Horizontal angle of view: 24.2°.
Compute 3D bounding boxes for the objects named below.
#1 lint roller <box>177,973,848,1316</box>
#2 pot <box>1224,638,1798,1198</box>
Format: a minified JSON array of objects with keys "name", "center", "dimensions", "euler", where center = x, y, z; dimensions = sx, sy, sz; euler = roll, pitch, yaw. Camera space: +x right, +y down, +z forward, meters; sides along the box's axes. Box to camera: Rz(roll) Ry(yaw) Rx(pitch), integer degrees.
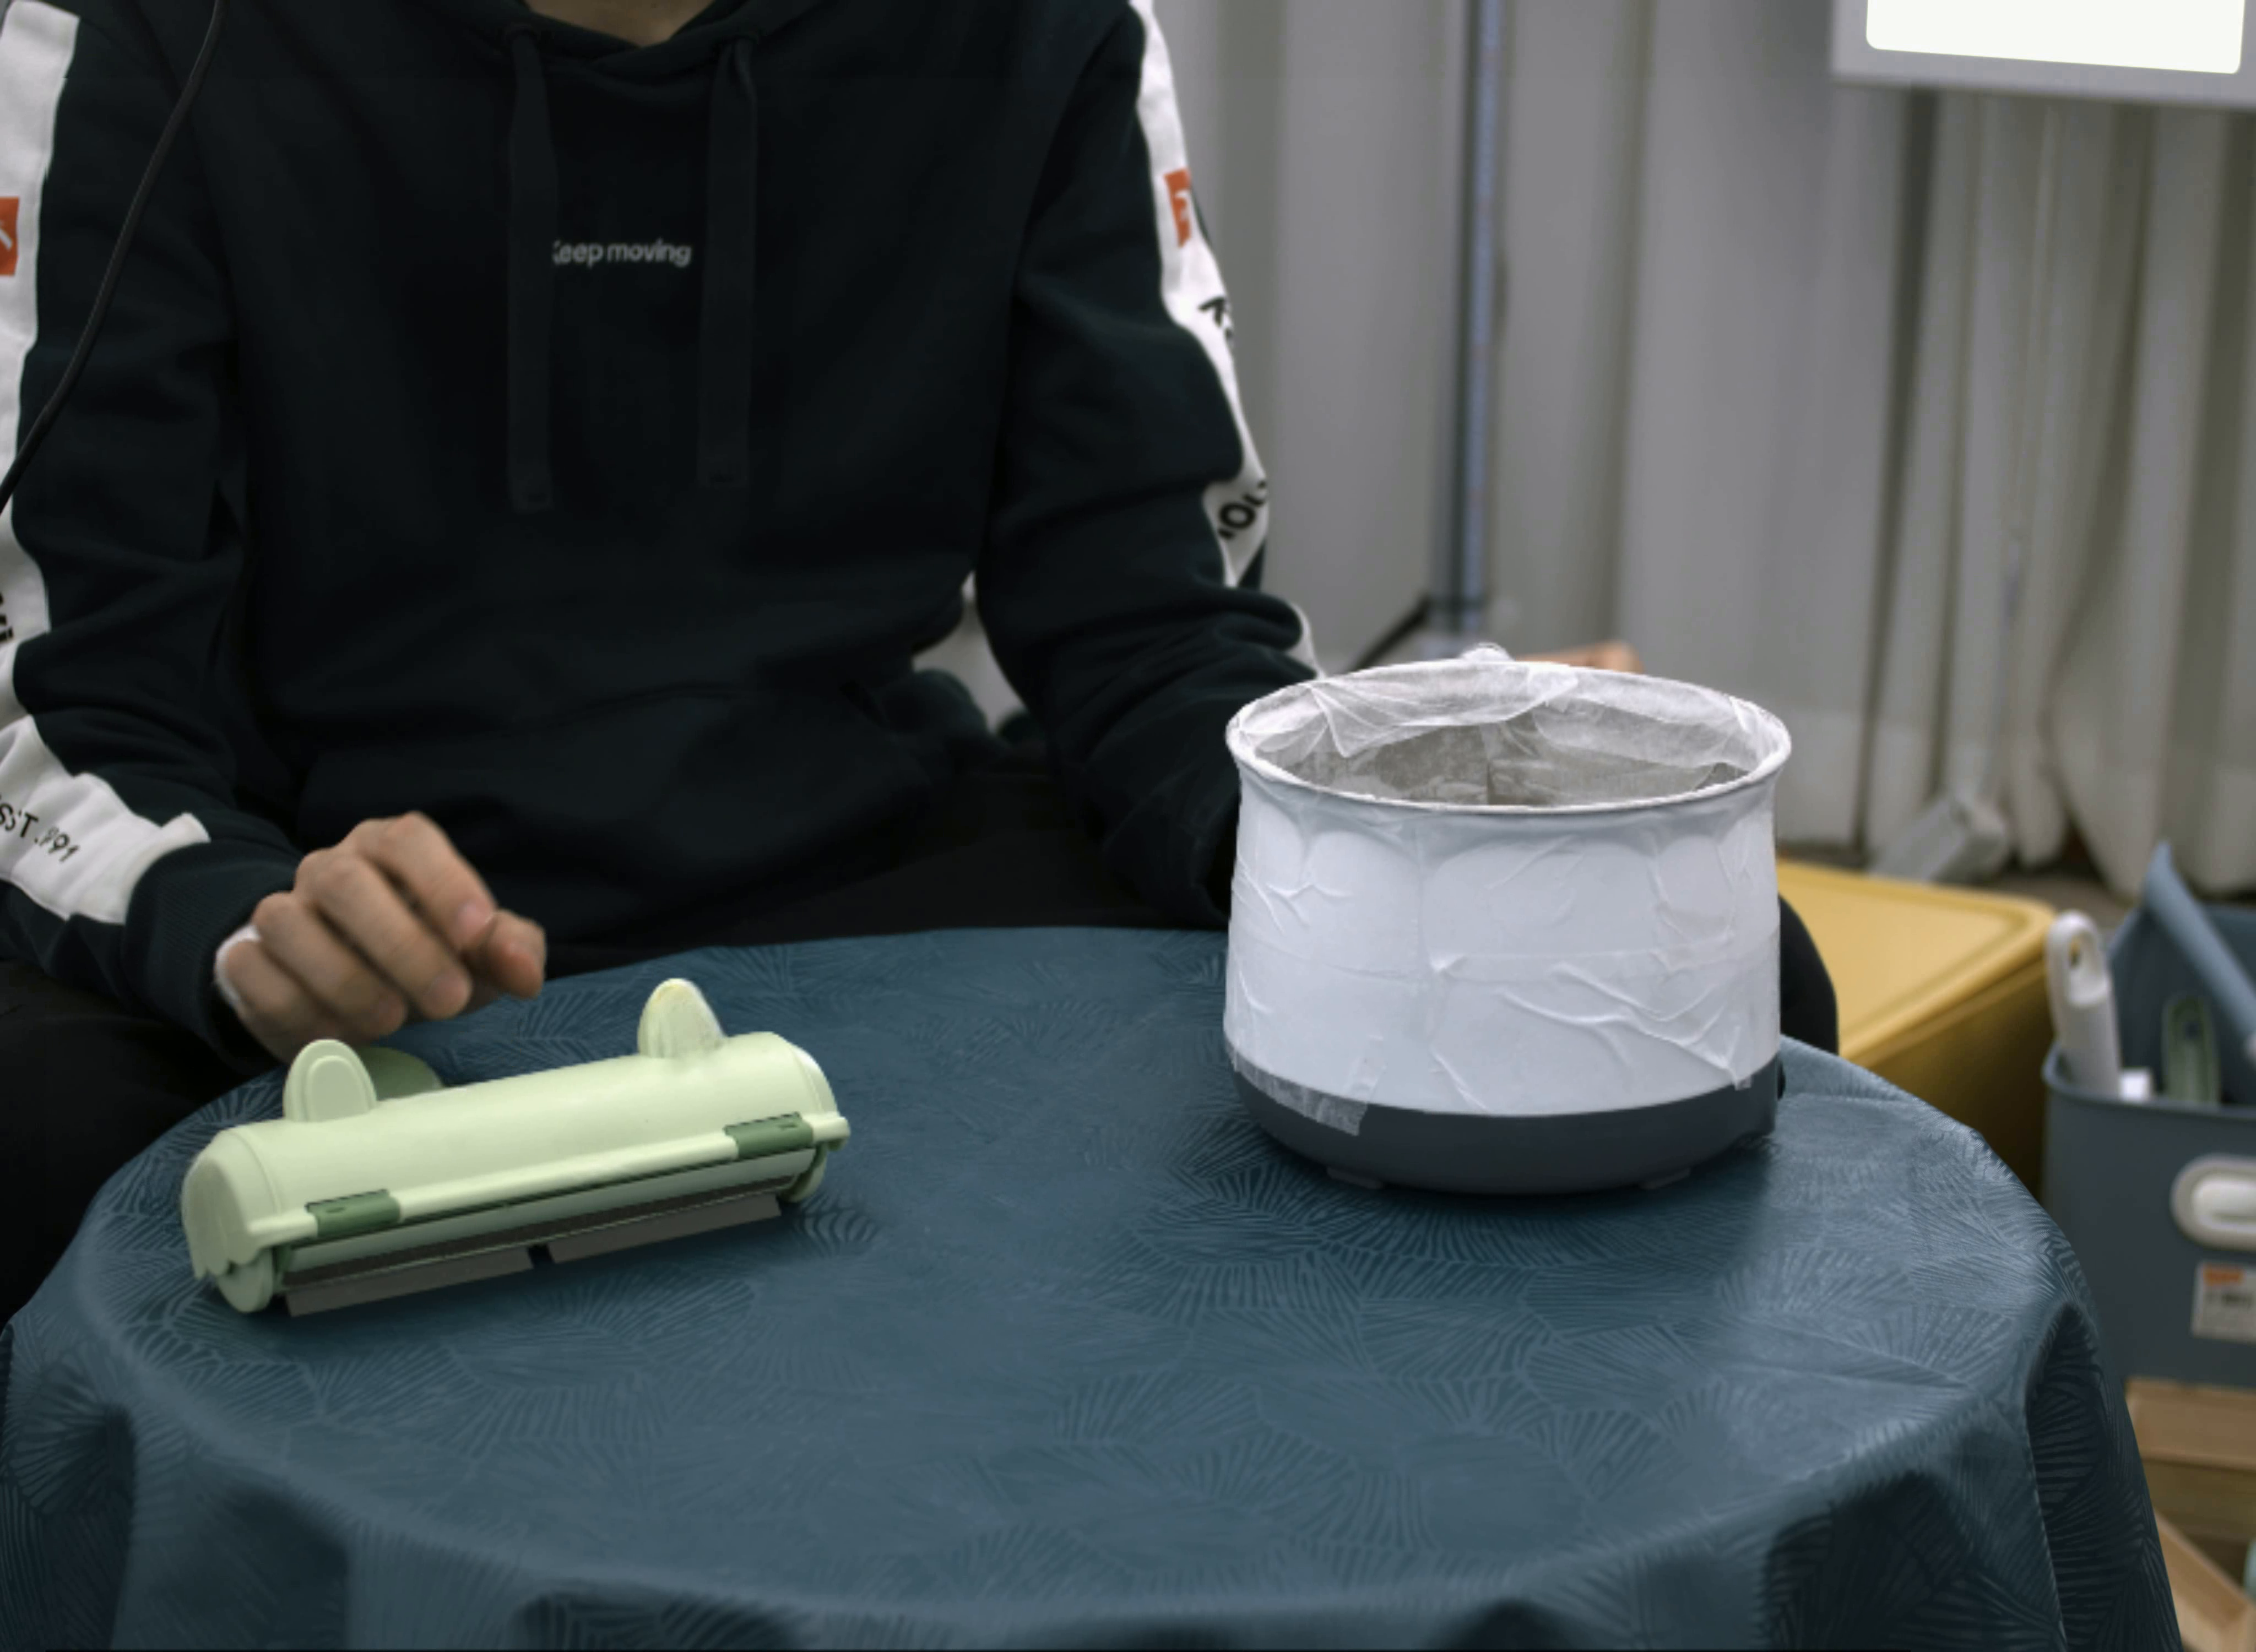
[{"name":"lint roller","center":[-0.210,0.077,1.596],"dimensions":[0.199,0.083,0.181],"euler":[-10,24,-31]},{"name":"pot","center":[0.118,0.024,1.681],"dimensions":[0.178,0.138,0.232],"euler":[1,17,-2]}]
